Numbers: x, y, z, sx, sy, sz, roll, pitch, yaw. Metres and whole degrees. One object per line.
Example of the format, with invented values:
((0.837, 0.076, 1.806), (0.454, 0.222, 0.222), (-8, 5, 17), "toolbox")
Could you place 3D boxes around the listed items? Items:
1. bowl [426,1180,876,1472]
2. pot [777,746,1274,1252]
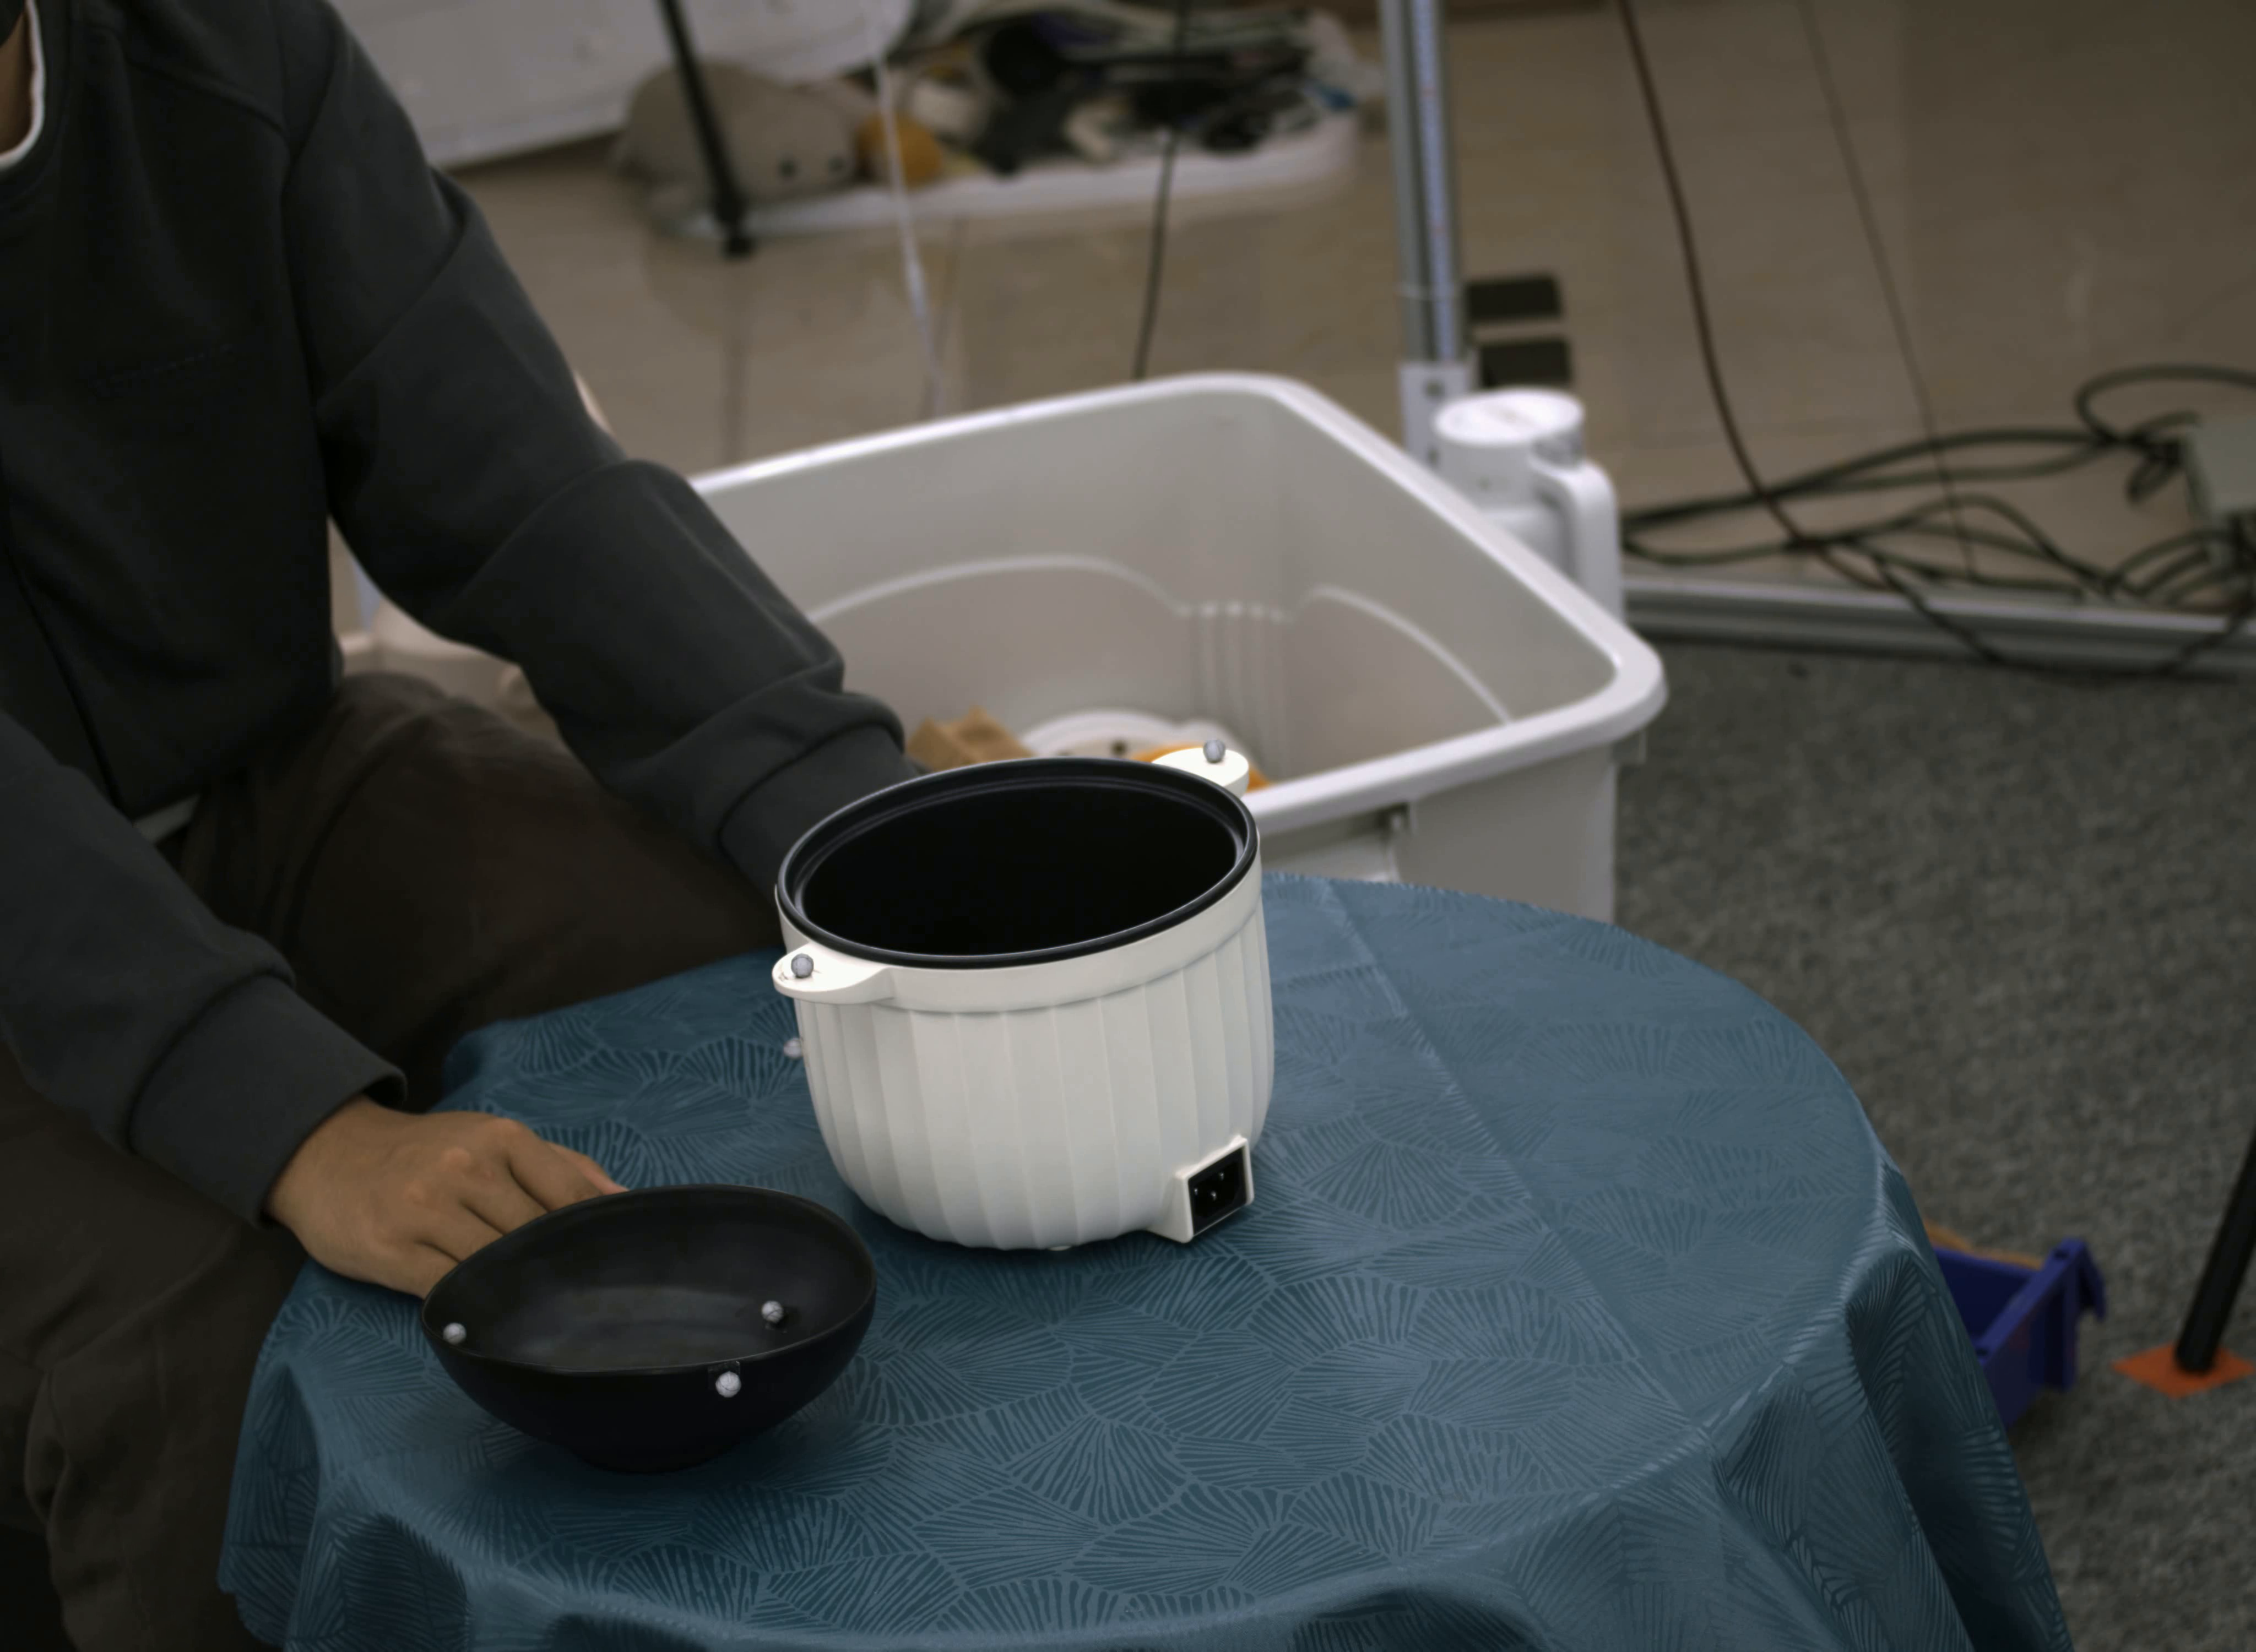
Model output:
((-0.167, 0.186, 2.010), (0.170, 0.068, 0.135), (2, 26, 21), "bowl")
((-0.039, 0.070, 2.140), (0.189, 0.145, 0.238), (19, 34, 38), "pot")
